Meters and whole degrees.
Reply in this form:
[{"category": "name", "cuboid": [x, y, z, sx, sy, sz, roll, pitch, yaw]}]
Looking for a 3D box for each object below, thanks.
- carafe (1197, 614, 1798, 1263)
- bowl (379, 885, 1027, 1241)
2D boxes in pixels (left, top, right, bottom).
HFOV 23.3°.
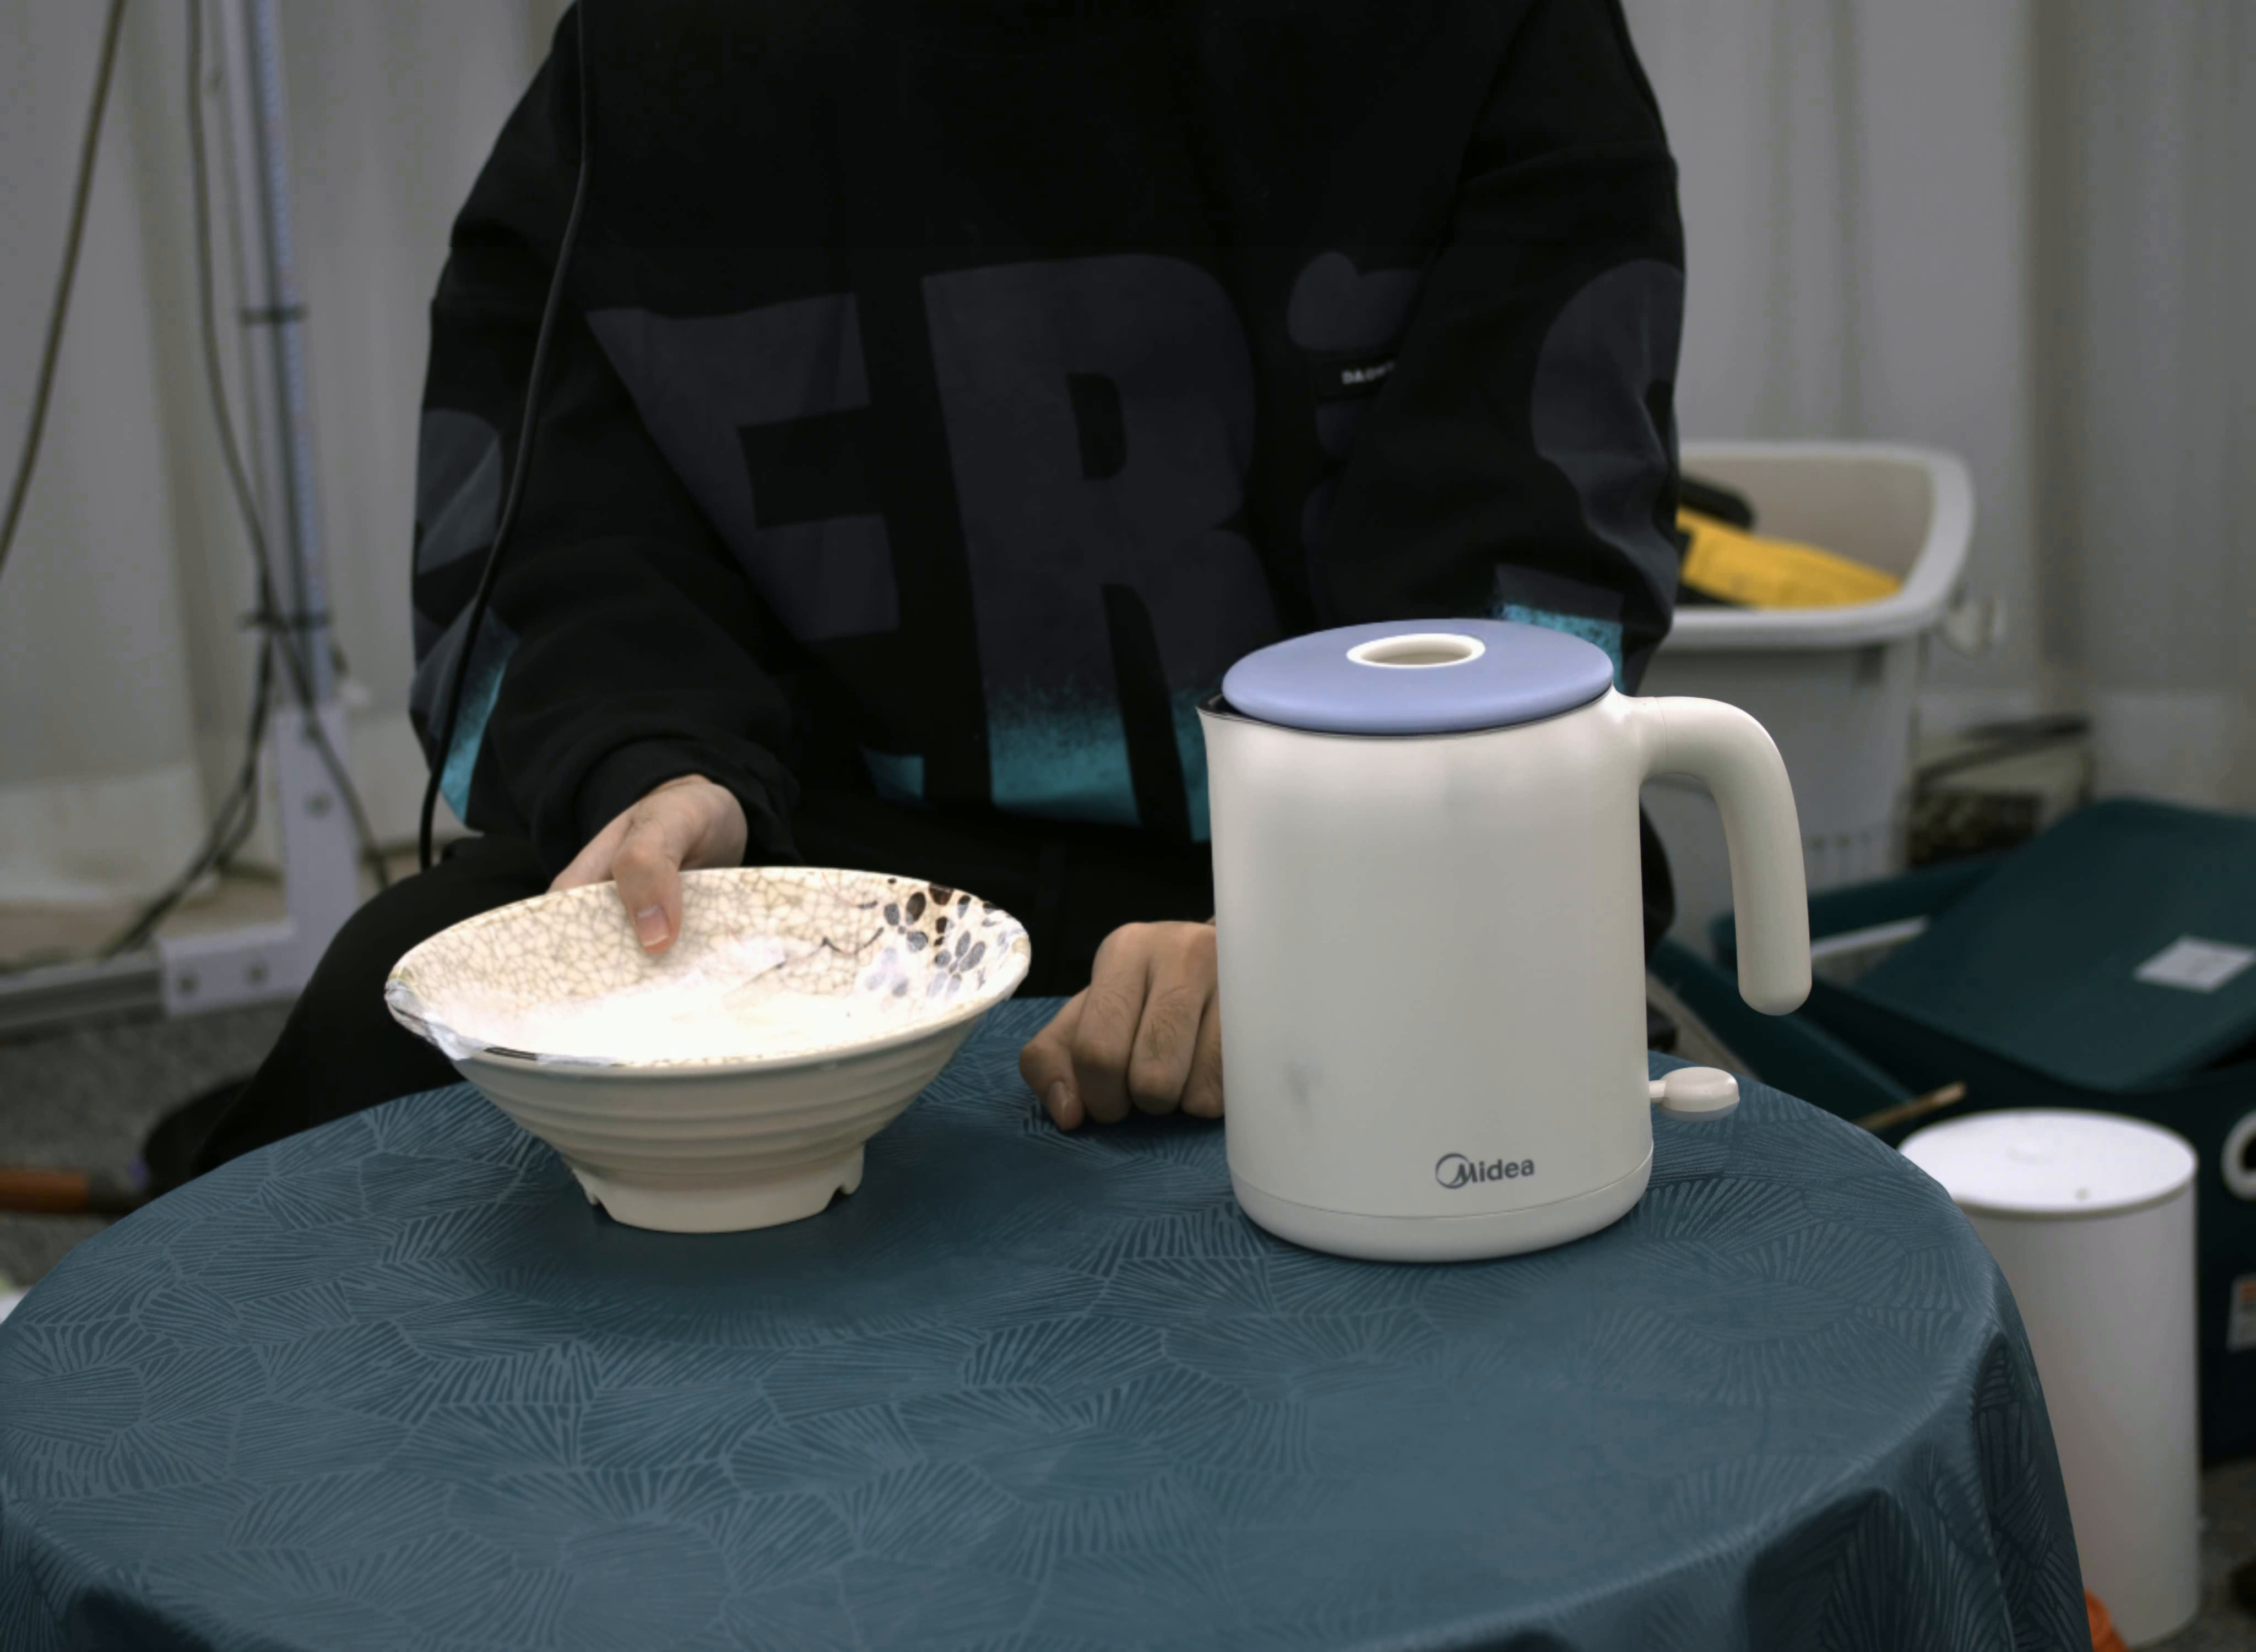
[{"category": "carafe", "cuboid": [0.115, 0.032, 1.675, 0.190, 0.182, 0.133, -3, 15, -11]}, {"category": "bowl", "cuboid": [-0.132, 0.081, 1.724, 0.203, 0.077, 0.205, -1, 13, 0]}]
